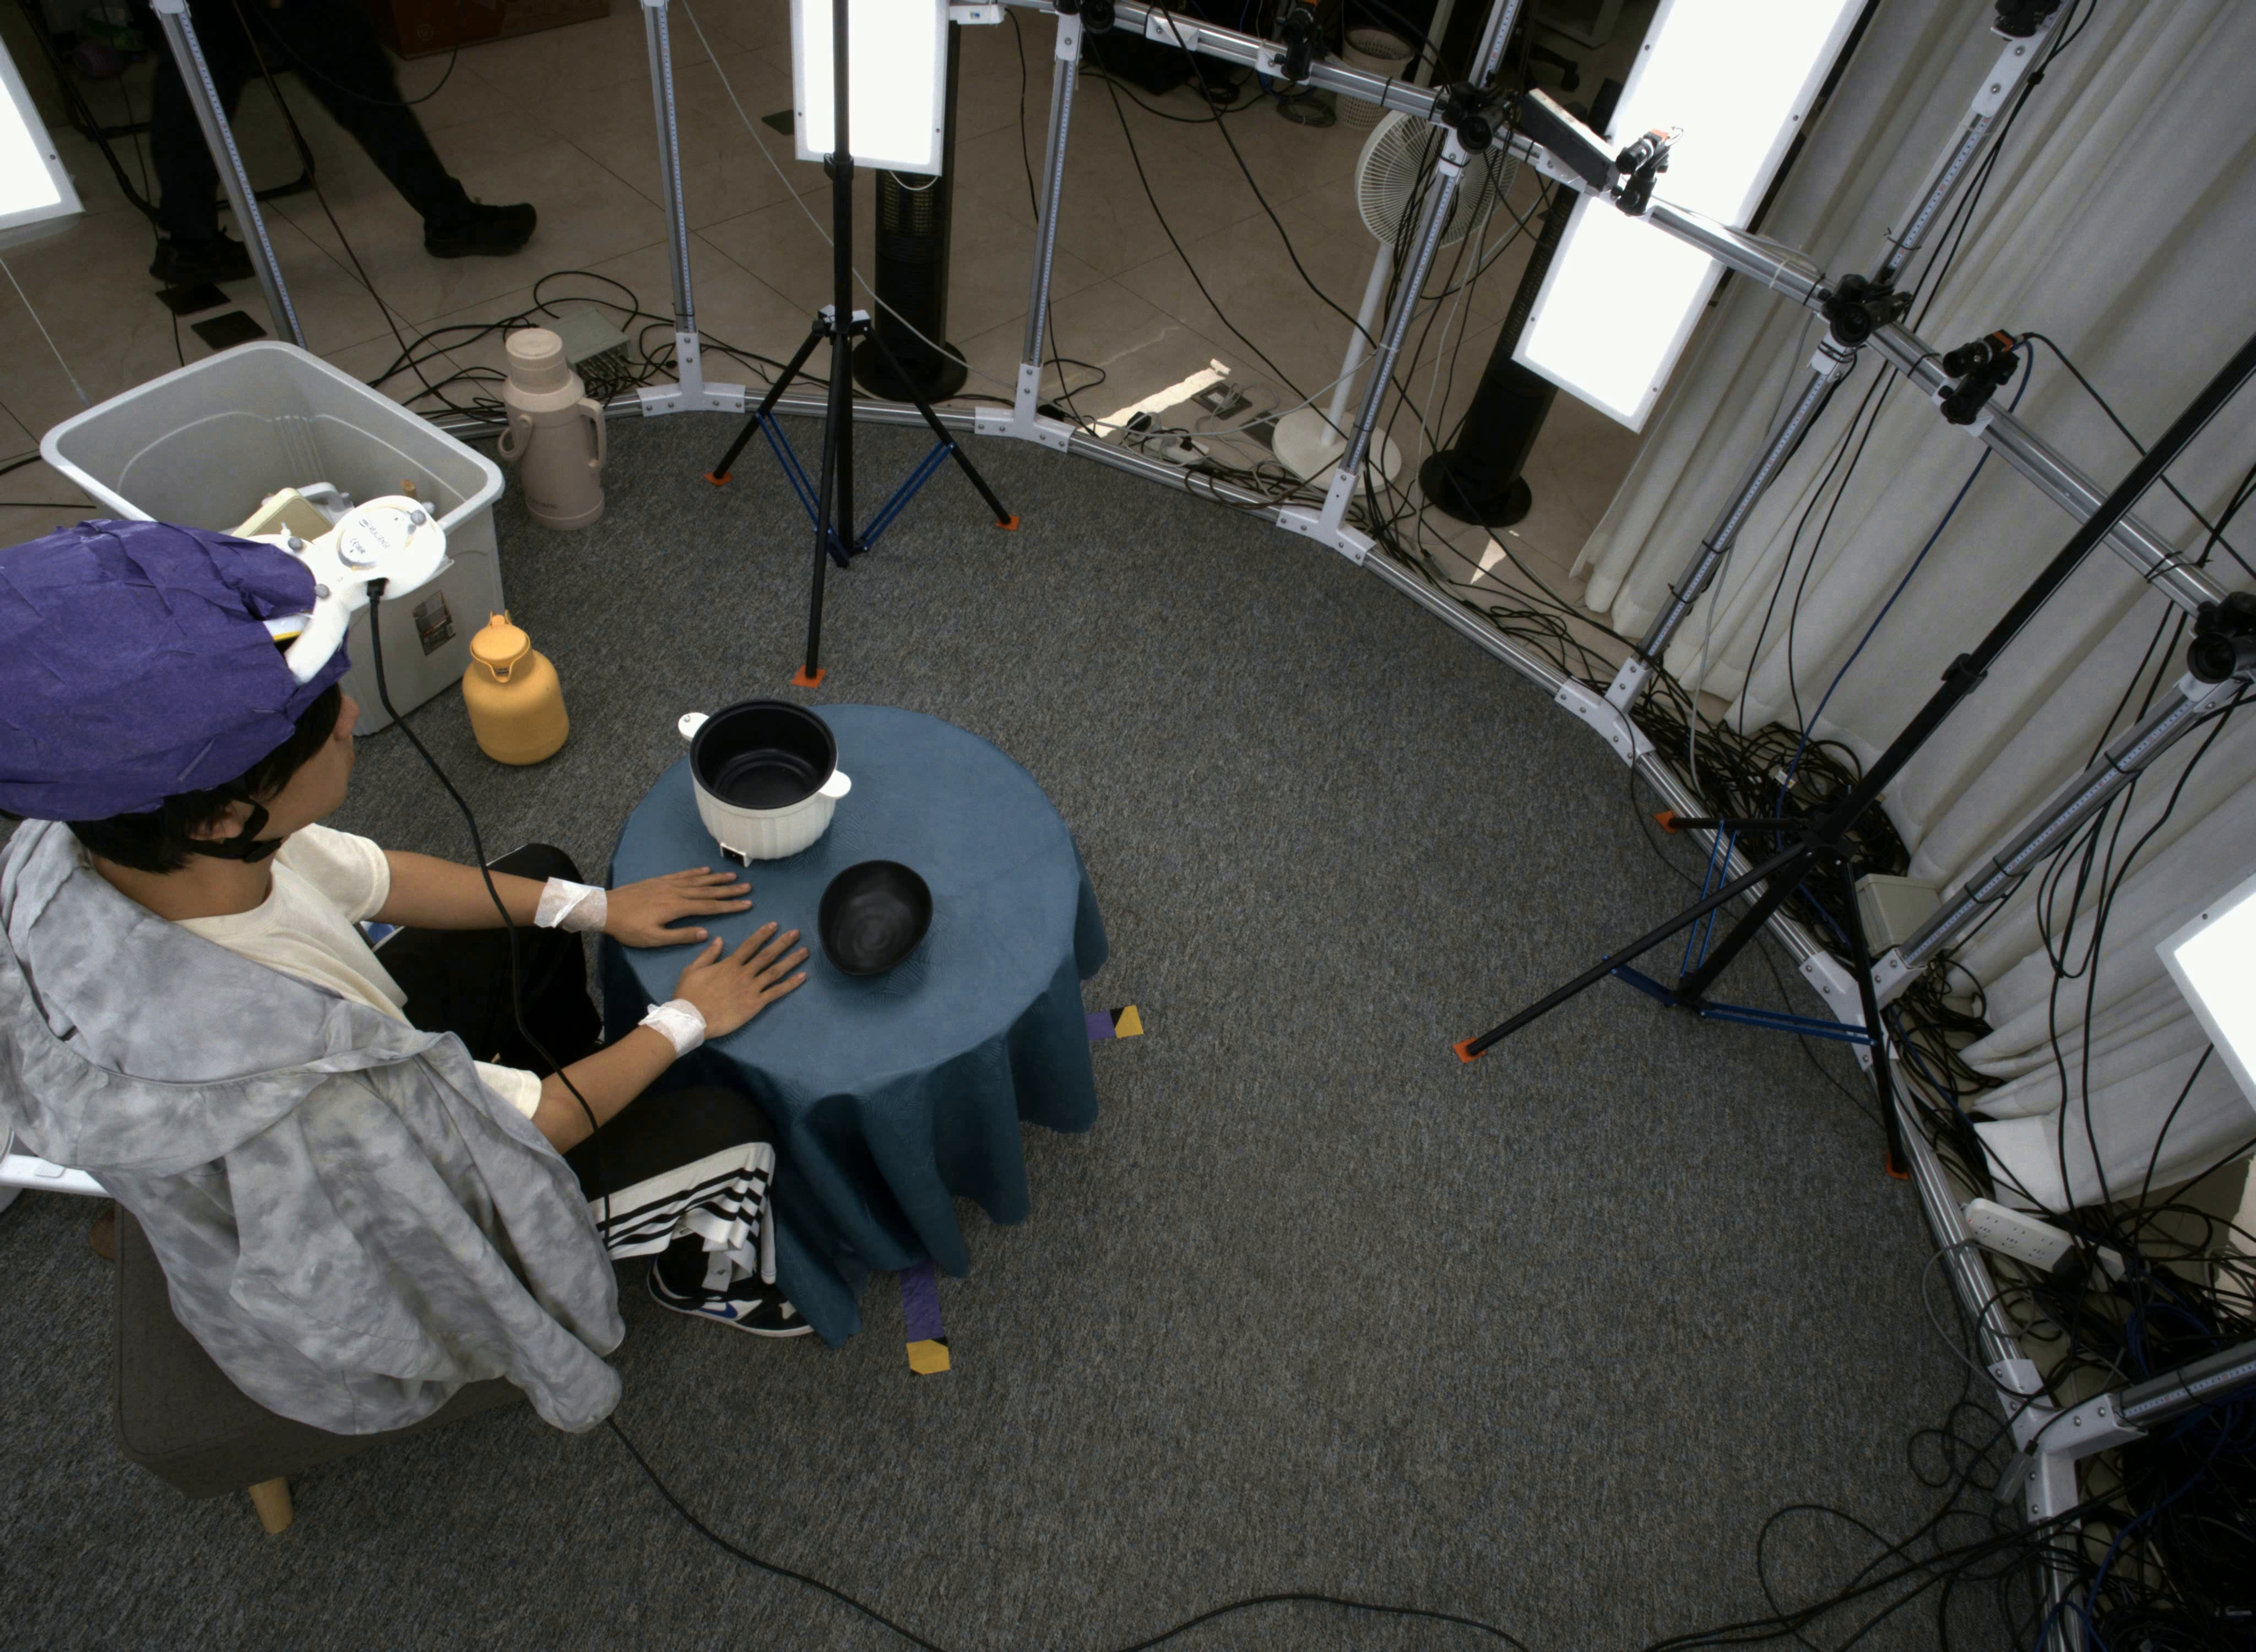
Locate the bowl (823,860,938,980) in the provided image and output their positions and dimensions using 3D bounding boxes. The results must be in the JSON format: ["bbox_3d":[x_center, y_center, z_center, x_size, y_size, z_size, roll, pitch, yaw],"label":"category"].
[{"bbox_3d":[-0.308,0.125,1.621,0.136,0.068,0.168,14,53,-1],"label":"bowl"}]

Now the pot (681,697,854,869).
[{"bbox_3d":[-0.459,-0.057,1.671,0.237,0.145,0.189,22,55,4],"label":"pot"}]
